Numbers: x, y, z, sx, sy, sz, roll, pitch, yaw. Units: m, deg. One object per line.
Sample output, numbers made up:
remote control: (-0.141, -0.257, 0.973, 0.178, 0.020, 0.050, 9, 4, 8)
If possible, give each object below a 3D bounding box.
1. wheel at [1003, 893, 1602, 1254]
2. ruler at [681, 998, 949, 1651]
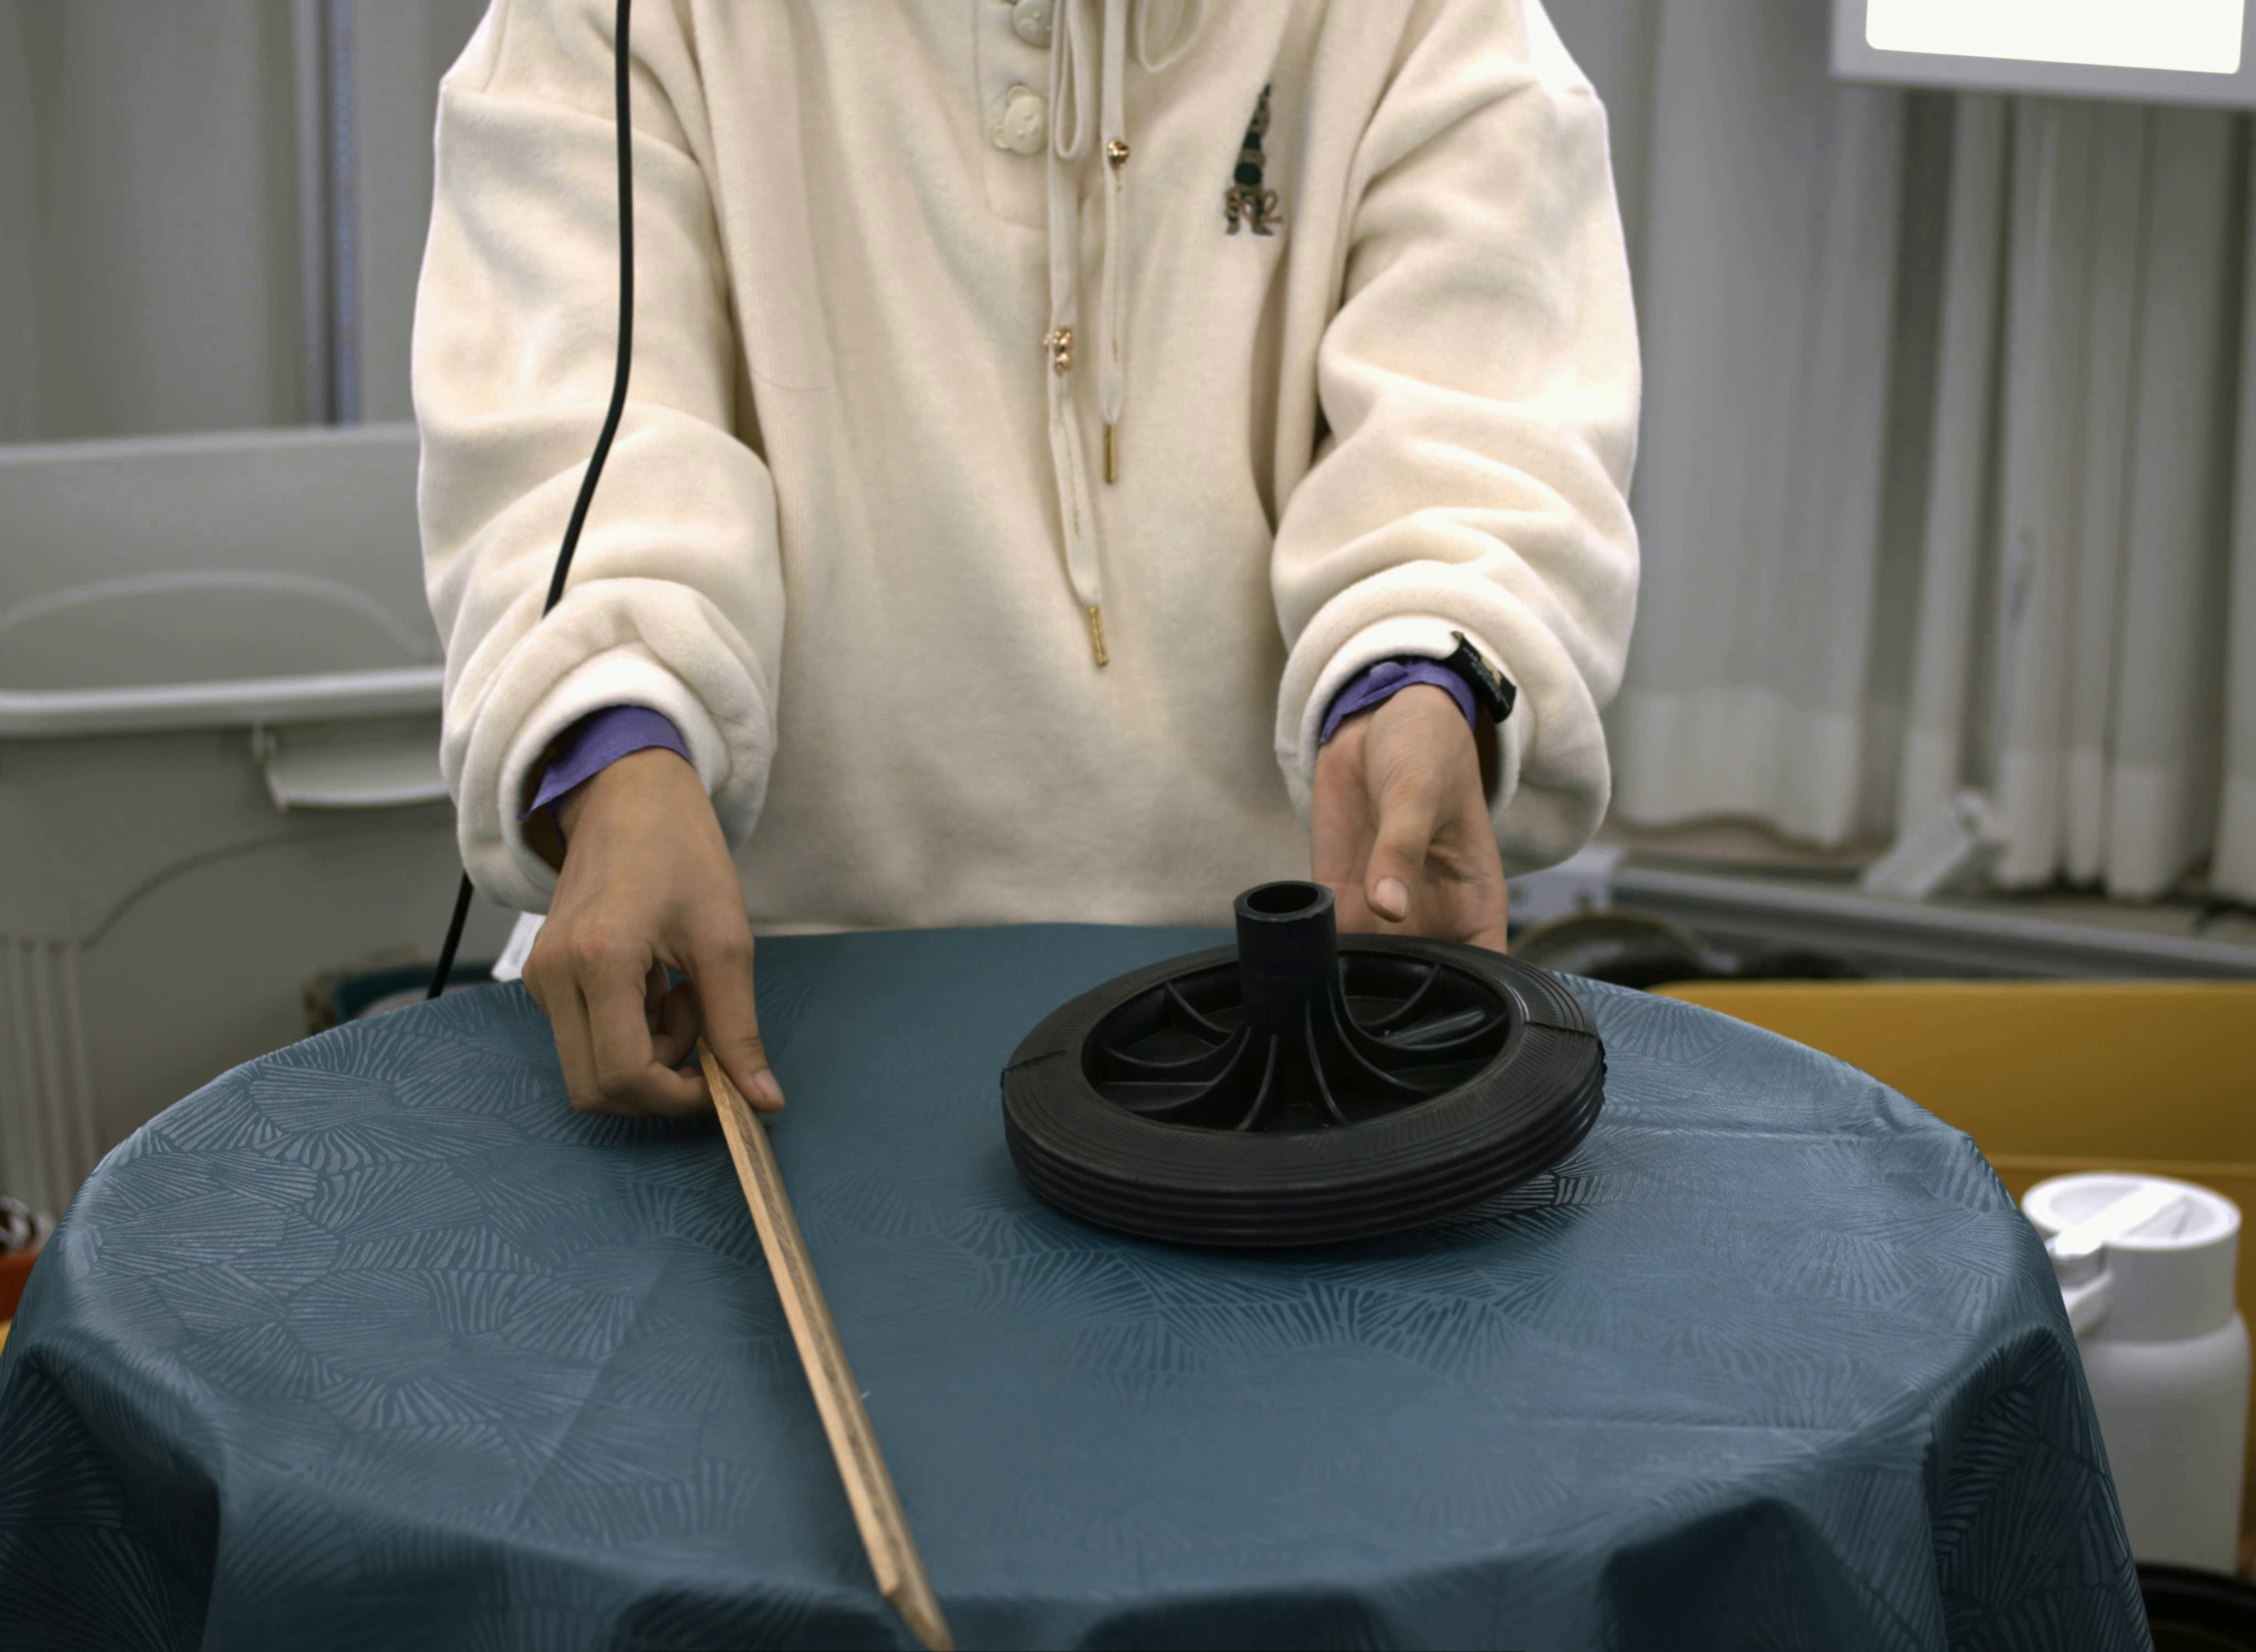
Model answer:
wheel: (0.053, 0.063, 1.632, 0.185, 0.080, 0.190, 14, 29, 39)
ruler: (-0.096, 0.129, 1.514, 0.006, 0.027, 0.496, -37, 18, 1)
